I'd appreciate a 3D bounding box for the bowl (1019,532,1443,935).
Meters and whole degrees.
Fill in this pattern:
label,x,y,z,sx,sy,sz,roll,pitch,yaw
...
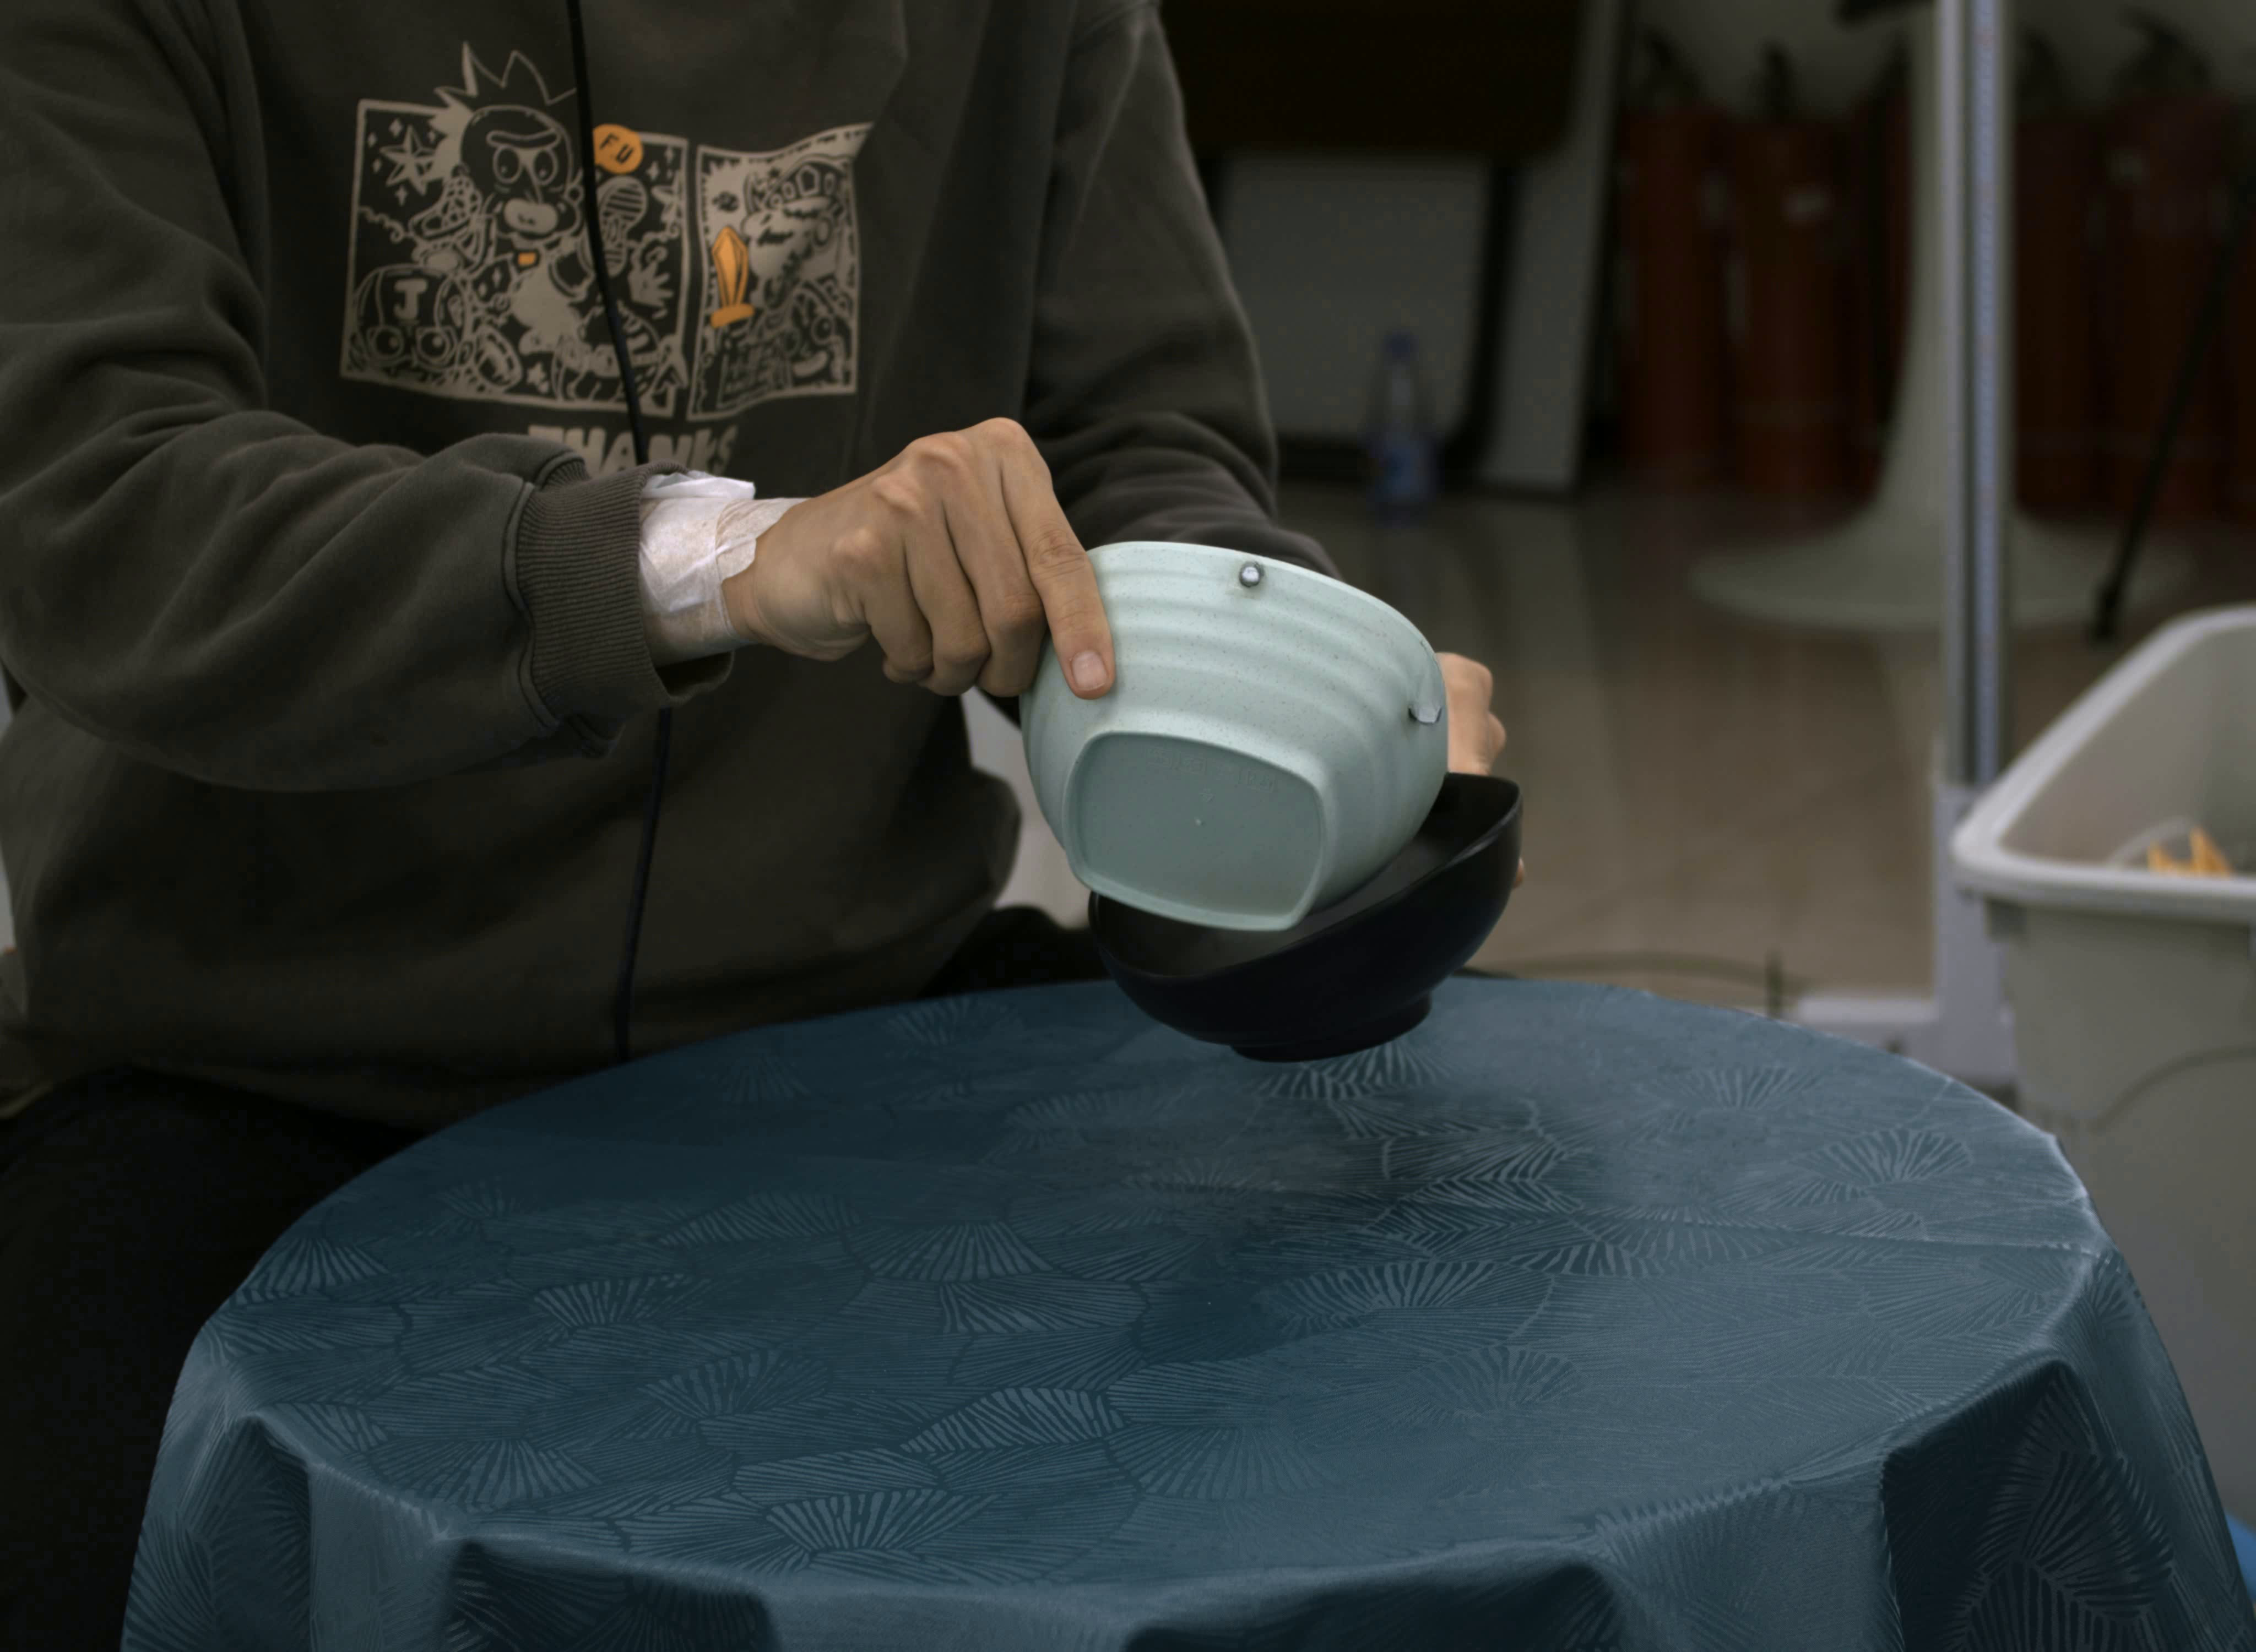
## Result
label,x,y,z,sx,sy,sz,roll,pitch,yaw
bowl,0.025,-0.018,1.678,0.151,0.151,0.059,2,44,21

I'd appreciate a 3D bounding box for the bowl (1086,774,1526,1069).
label,x,y,z,sx,sy,sz,roll,pitch,yaw
bowl,0.062,0.036,1.738,0.138,0.067,0.168,-2,19,33
